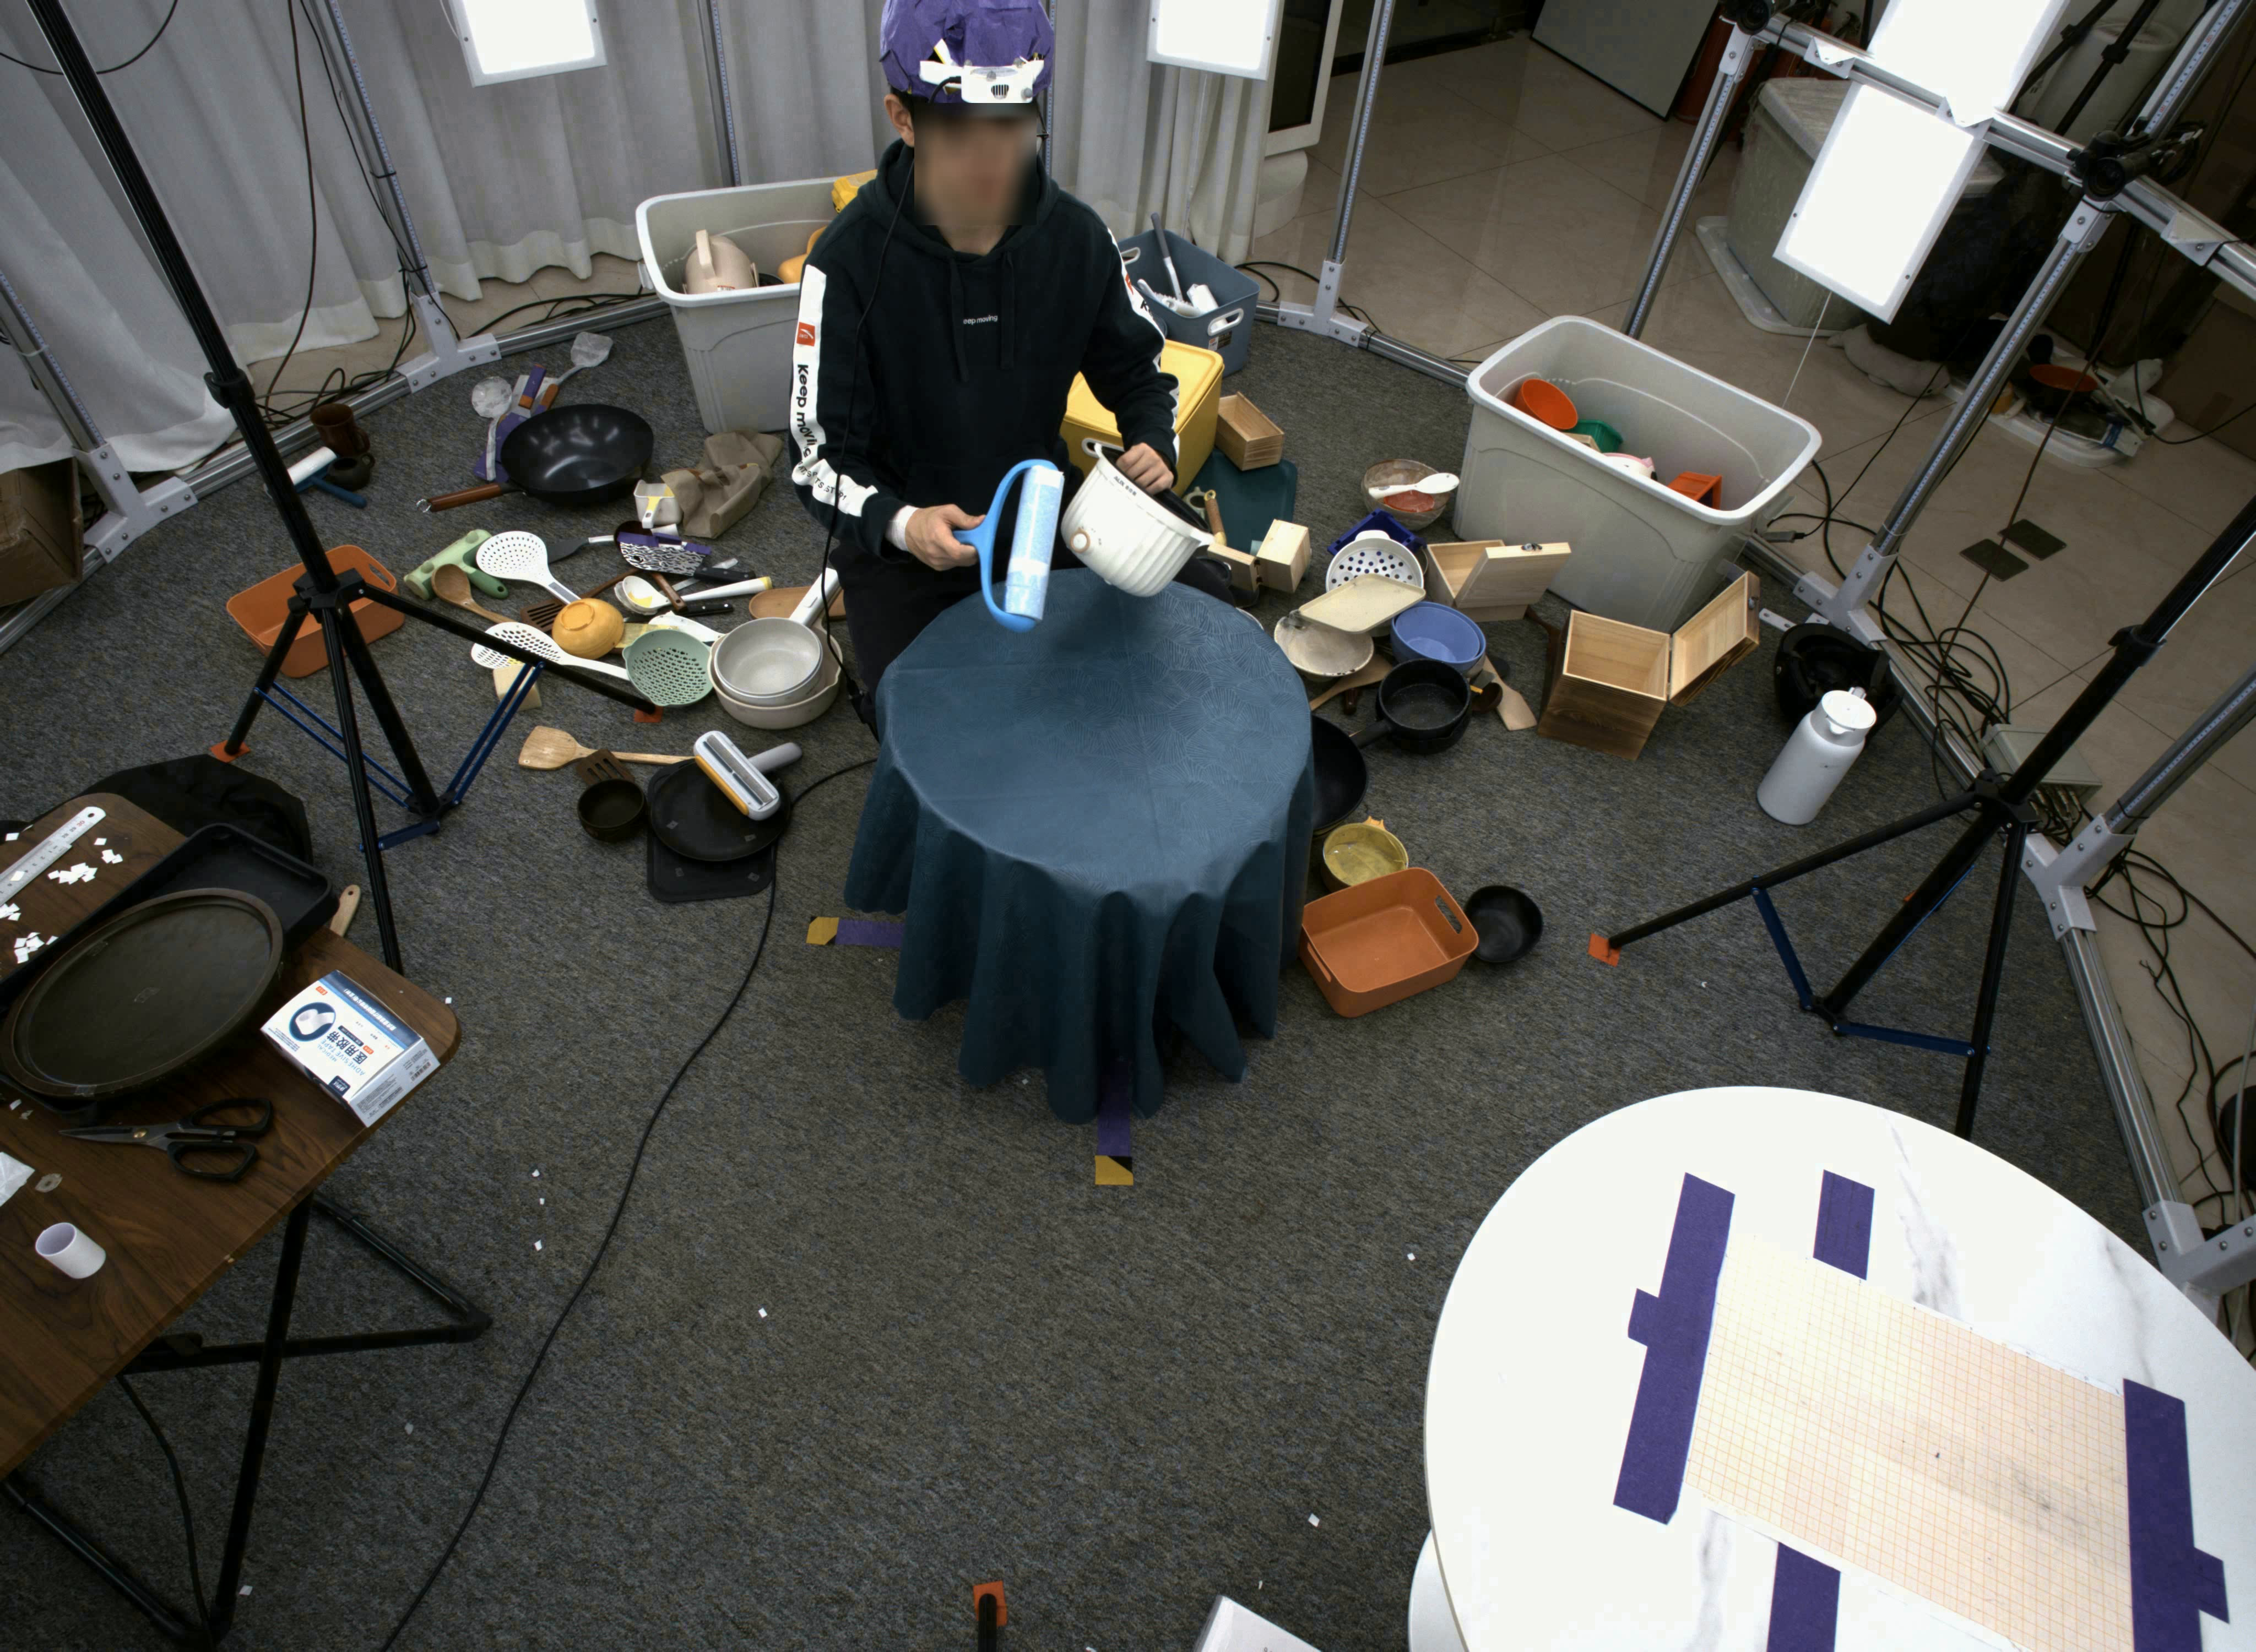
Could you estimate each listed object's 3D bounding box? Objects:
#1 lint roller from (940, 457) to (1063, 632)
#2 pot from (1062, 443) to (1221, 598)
[{"bbox_3d":[-0.179,-0.367,1.686,0.181,0.067,0.230,3,83,21],"label":"lint roller"},{"bbox_3d":[0.003,-0.411,1.792,0.243,0.141,0.189,43,16,19],"label":"pot"}]
